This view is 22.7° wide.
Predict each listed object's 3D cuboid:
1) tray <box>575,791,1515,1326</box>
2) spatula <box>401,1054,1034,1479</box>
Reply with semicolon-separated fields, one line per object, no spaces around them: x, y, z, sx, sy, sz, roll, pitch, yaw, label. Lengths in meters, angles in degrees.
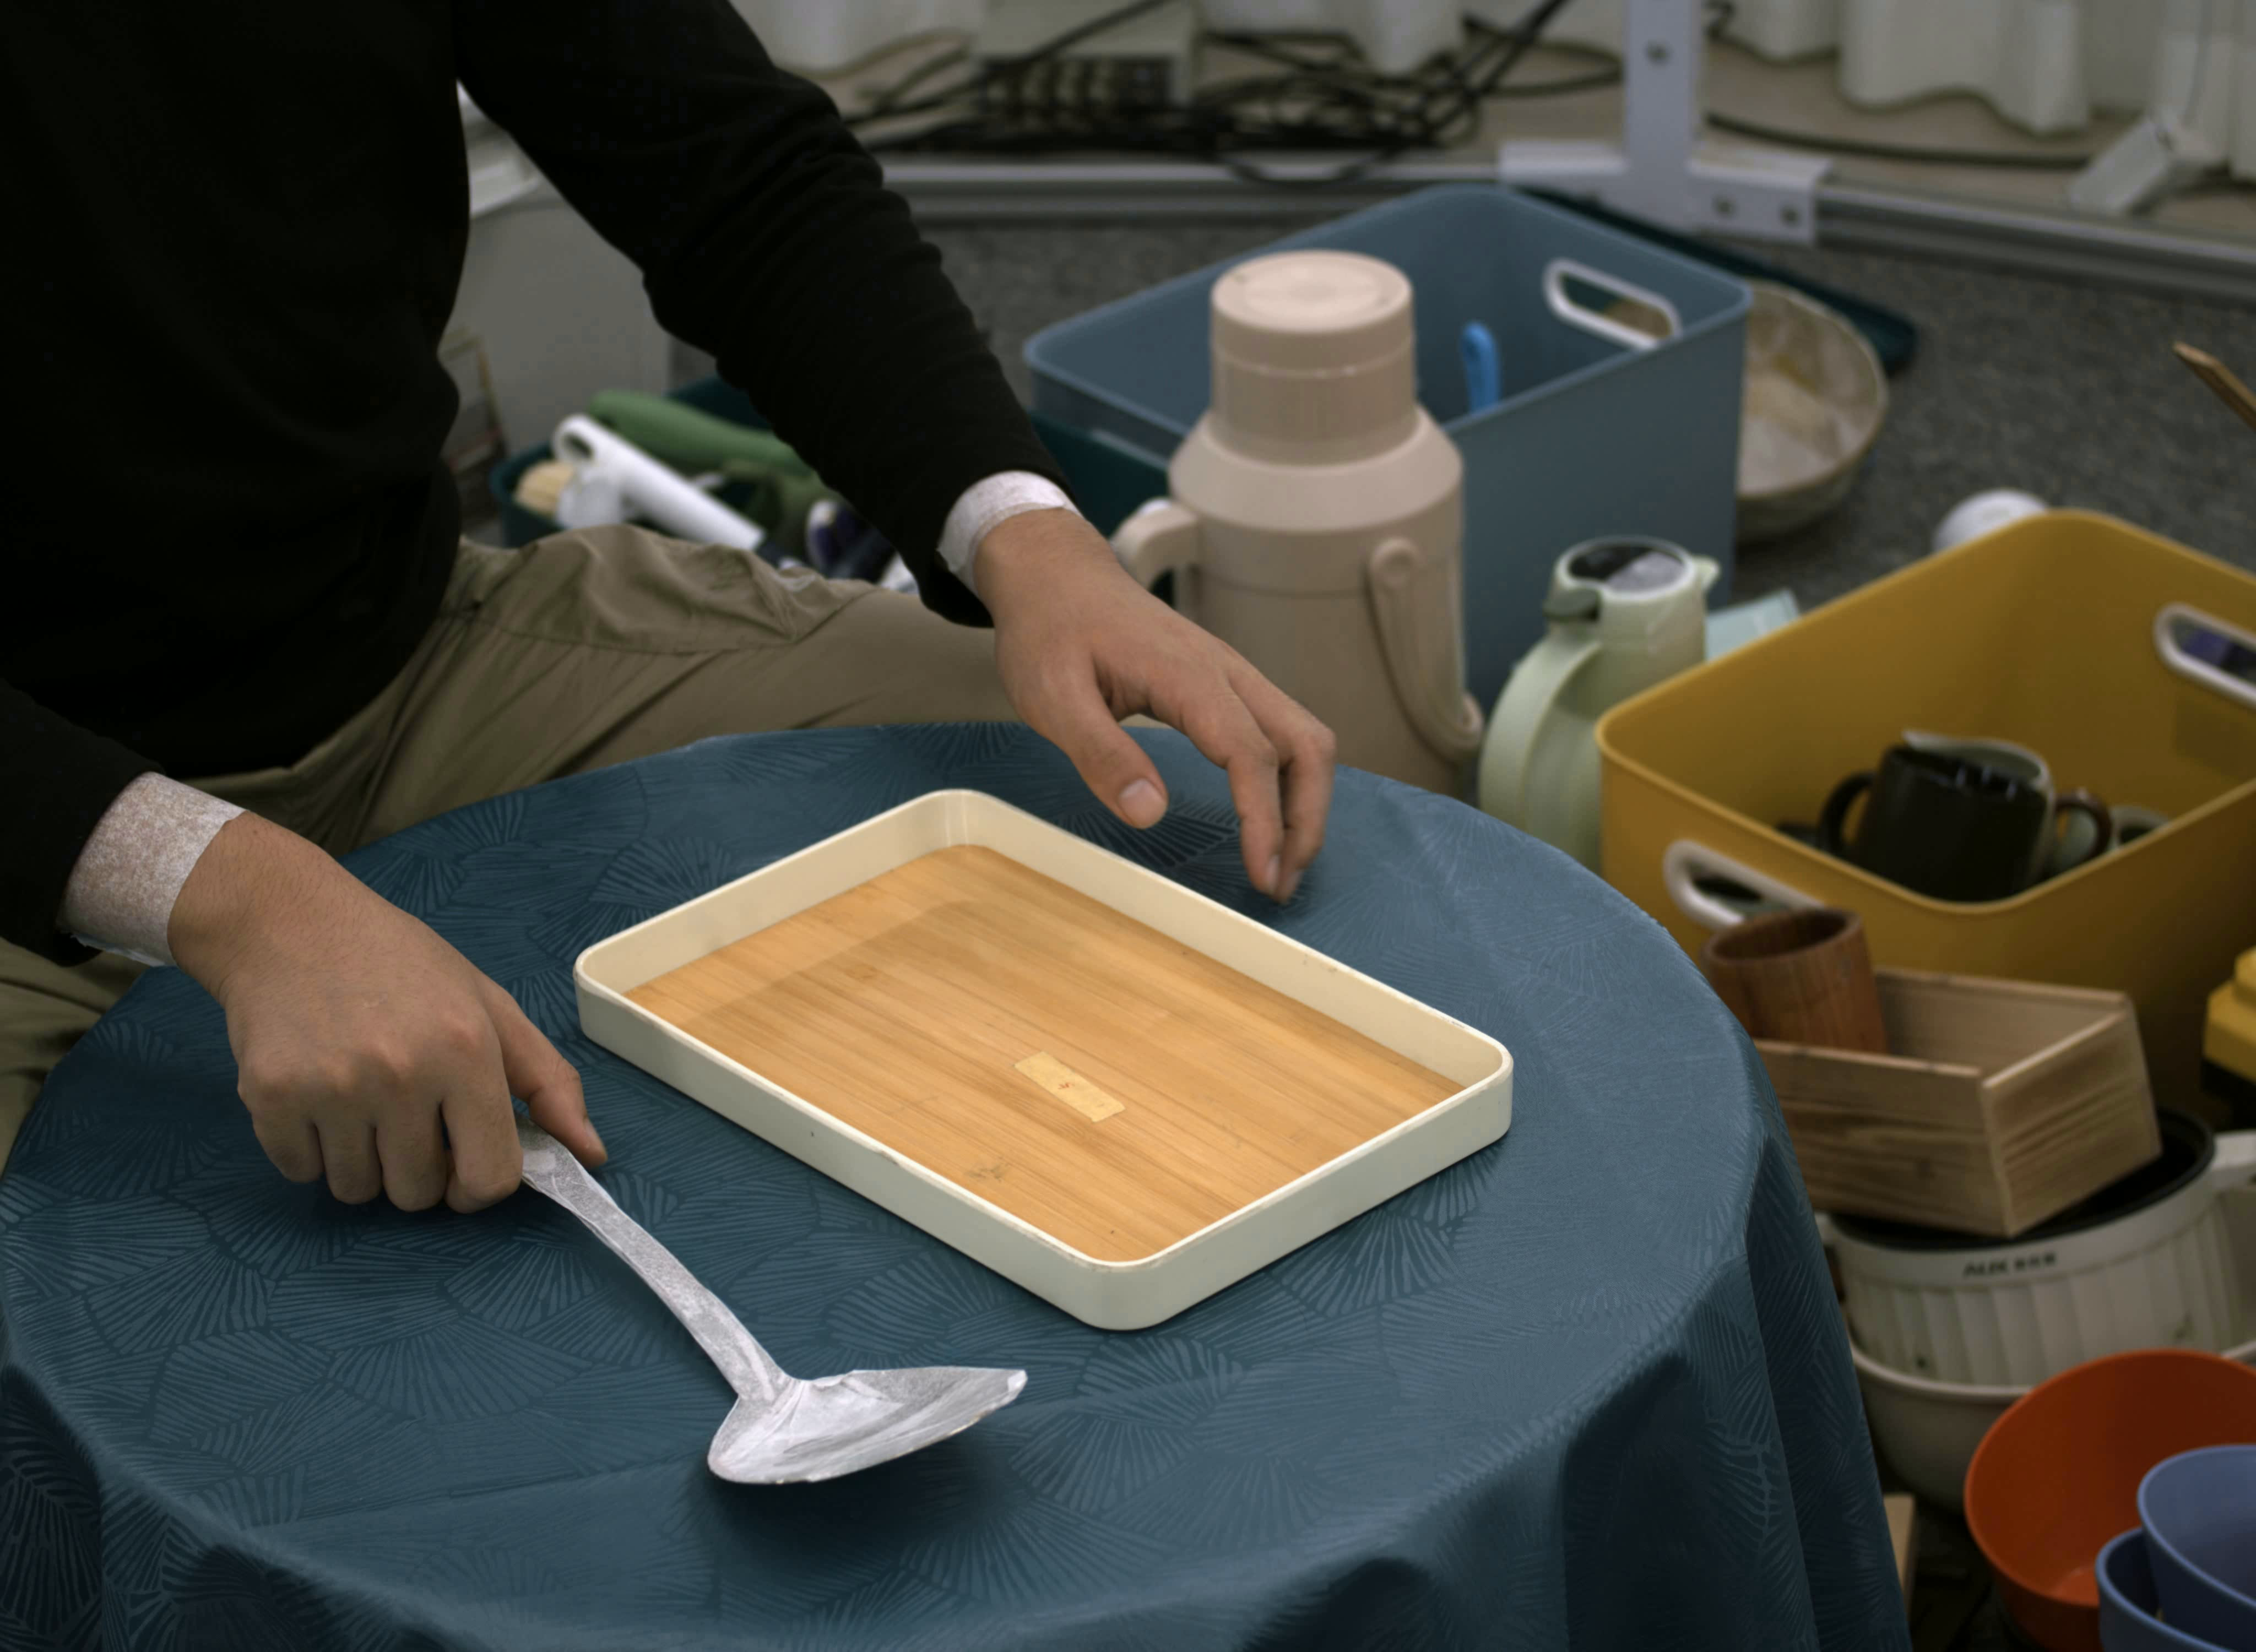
-0.032;0.074;1.927;0.193;0.027;0.300;-24;34;-35;tray
-0.156;0.133;1.813;0.099;0.044;0.366;-19;32;-27;spatula
